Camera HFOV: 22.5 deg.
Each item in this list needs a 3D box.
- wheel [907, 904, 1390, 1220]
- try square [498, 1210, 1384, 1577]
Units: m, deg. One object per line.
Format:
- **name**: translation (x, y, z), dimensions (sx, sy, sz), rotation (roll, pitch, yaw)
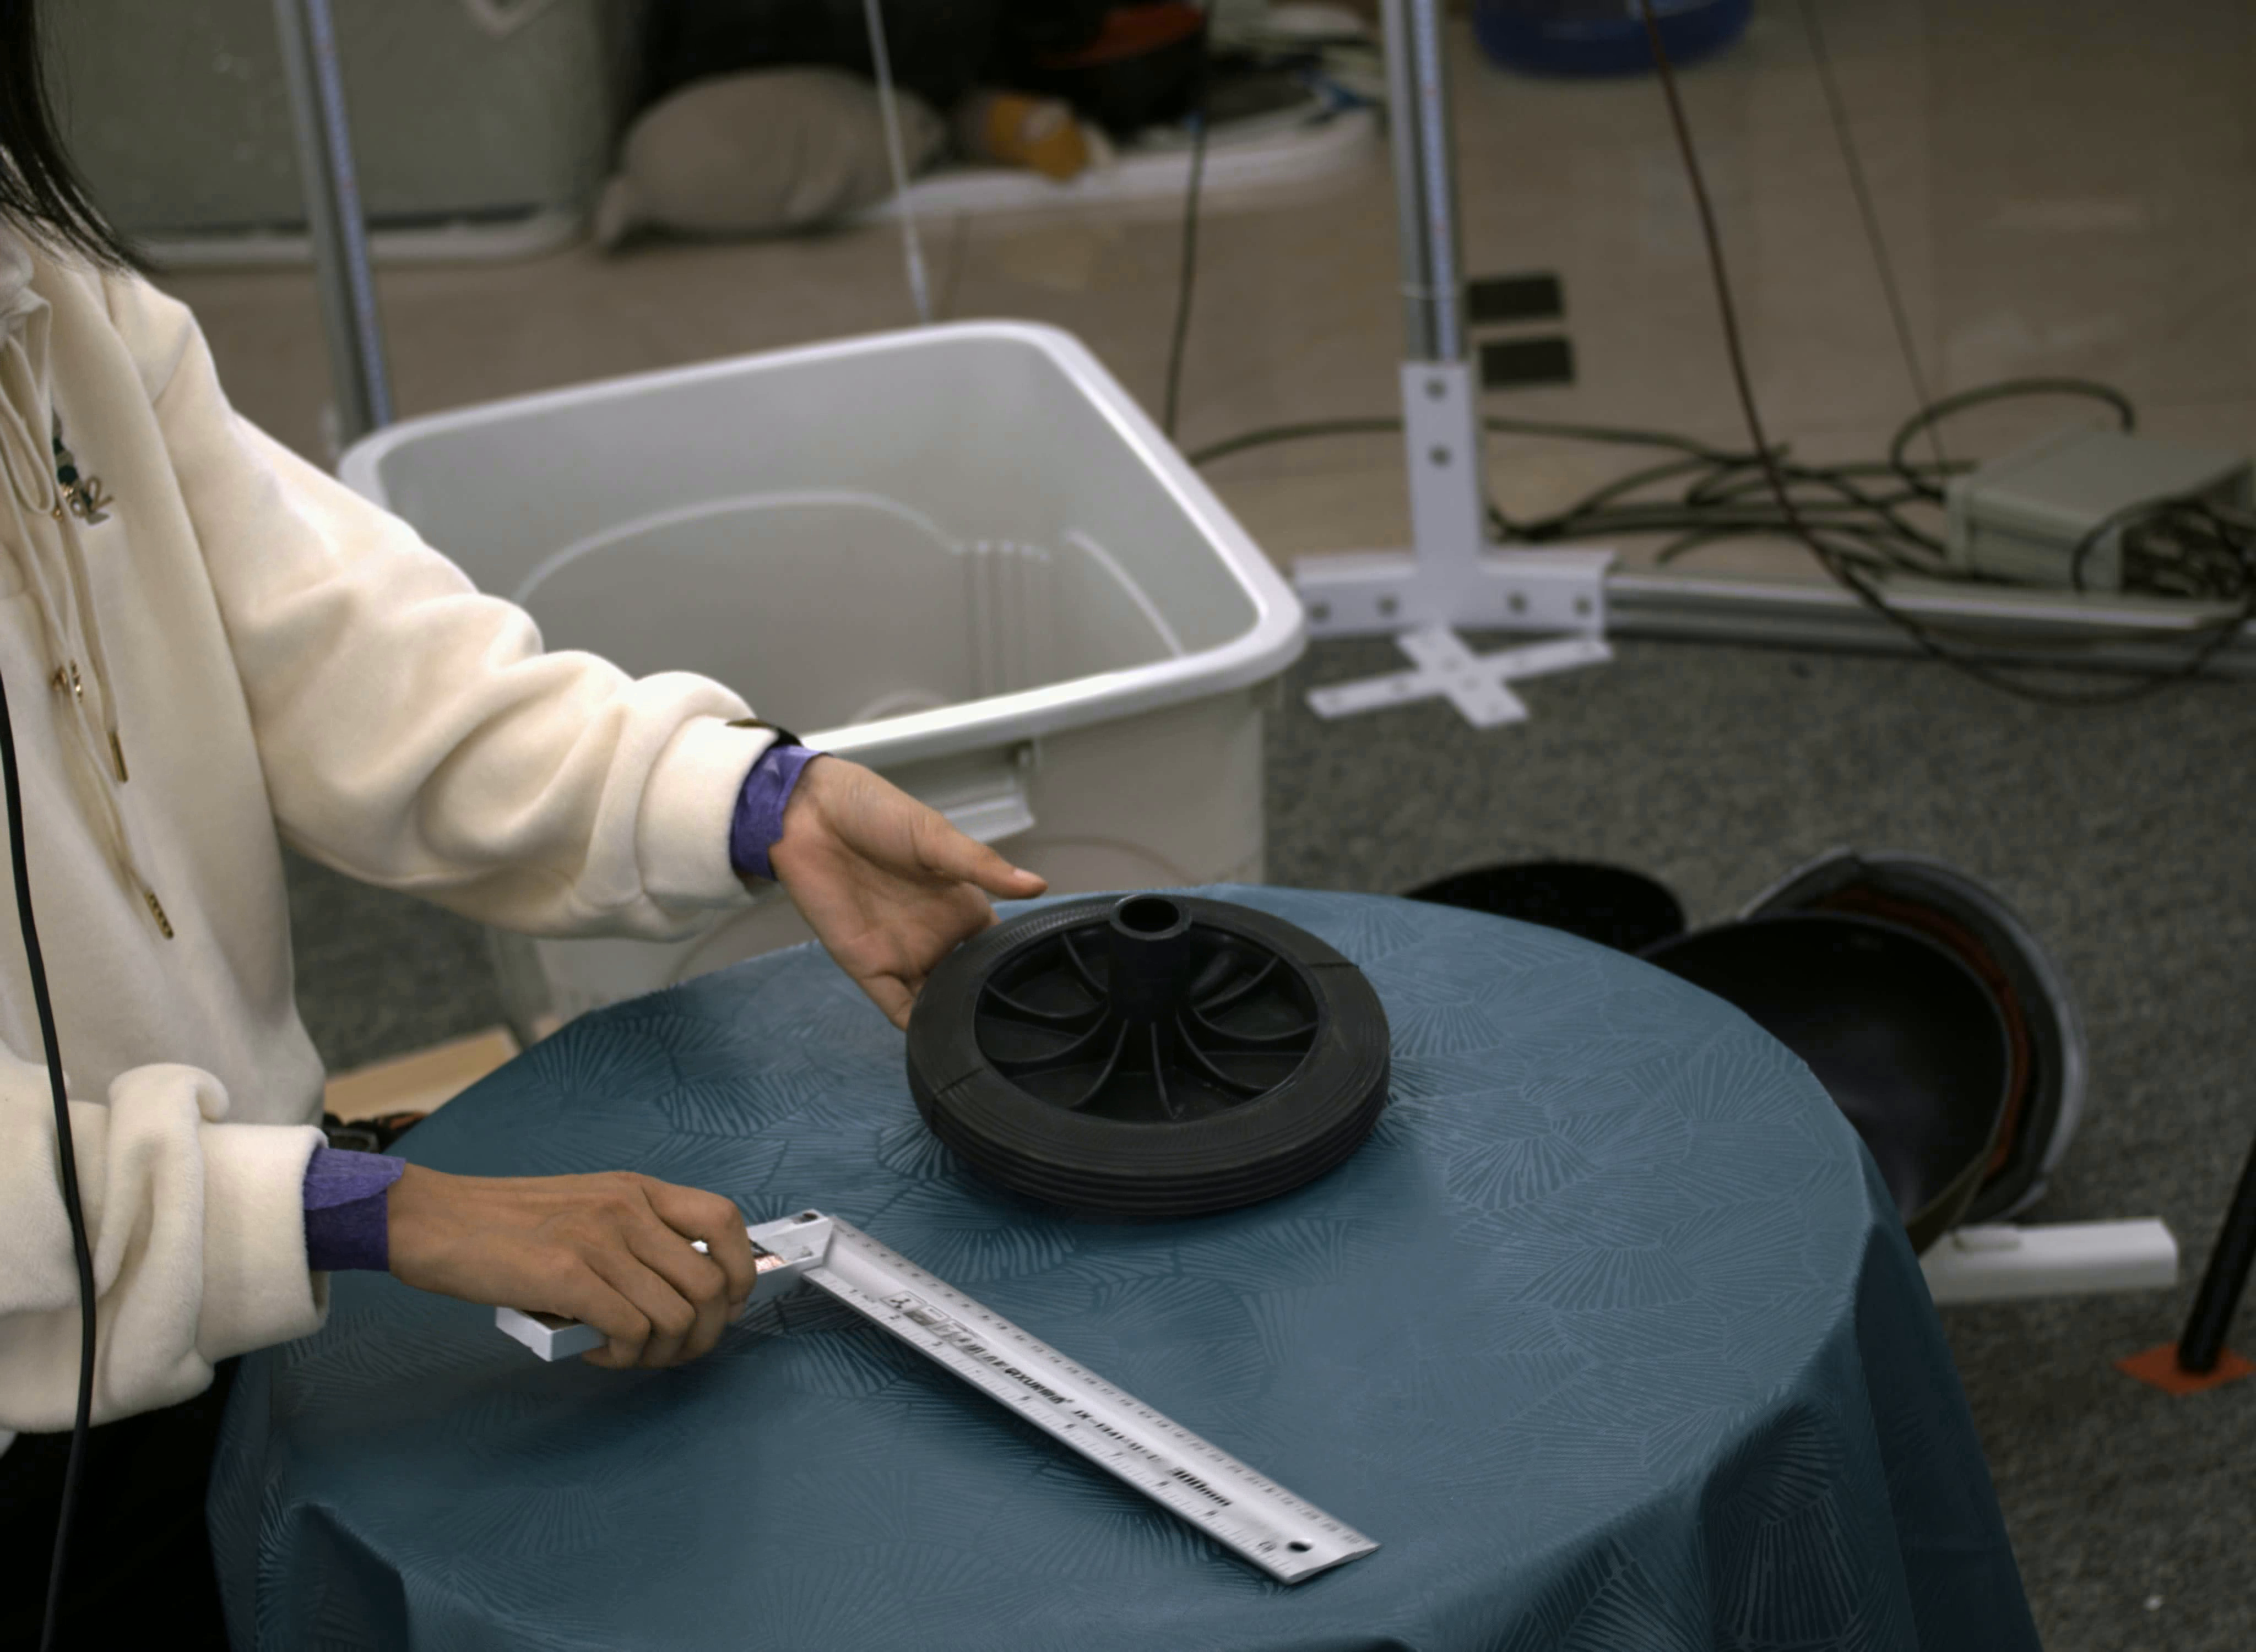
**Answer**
- **wheel**: translation (0.008, 0.071, 2.179), dimensions (0.187, 0.080, 0.186), rotation (5, 33, 7)
- **try square**: translation (-0.071, 0.210, 1.974), dimensions (0.151, 0.016, 0.310), rotation (-17, 29, -36)
